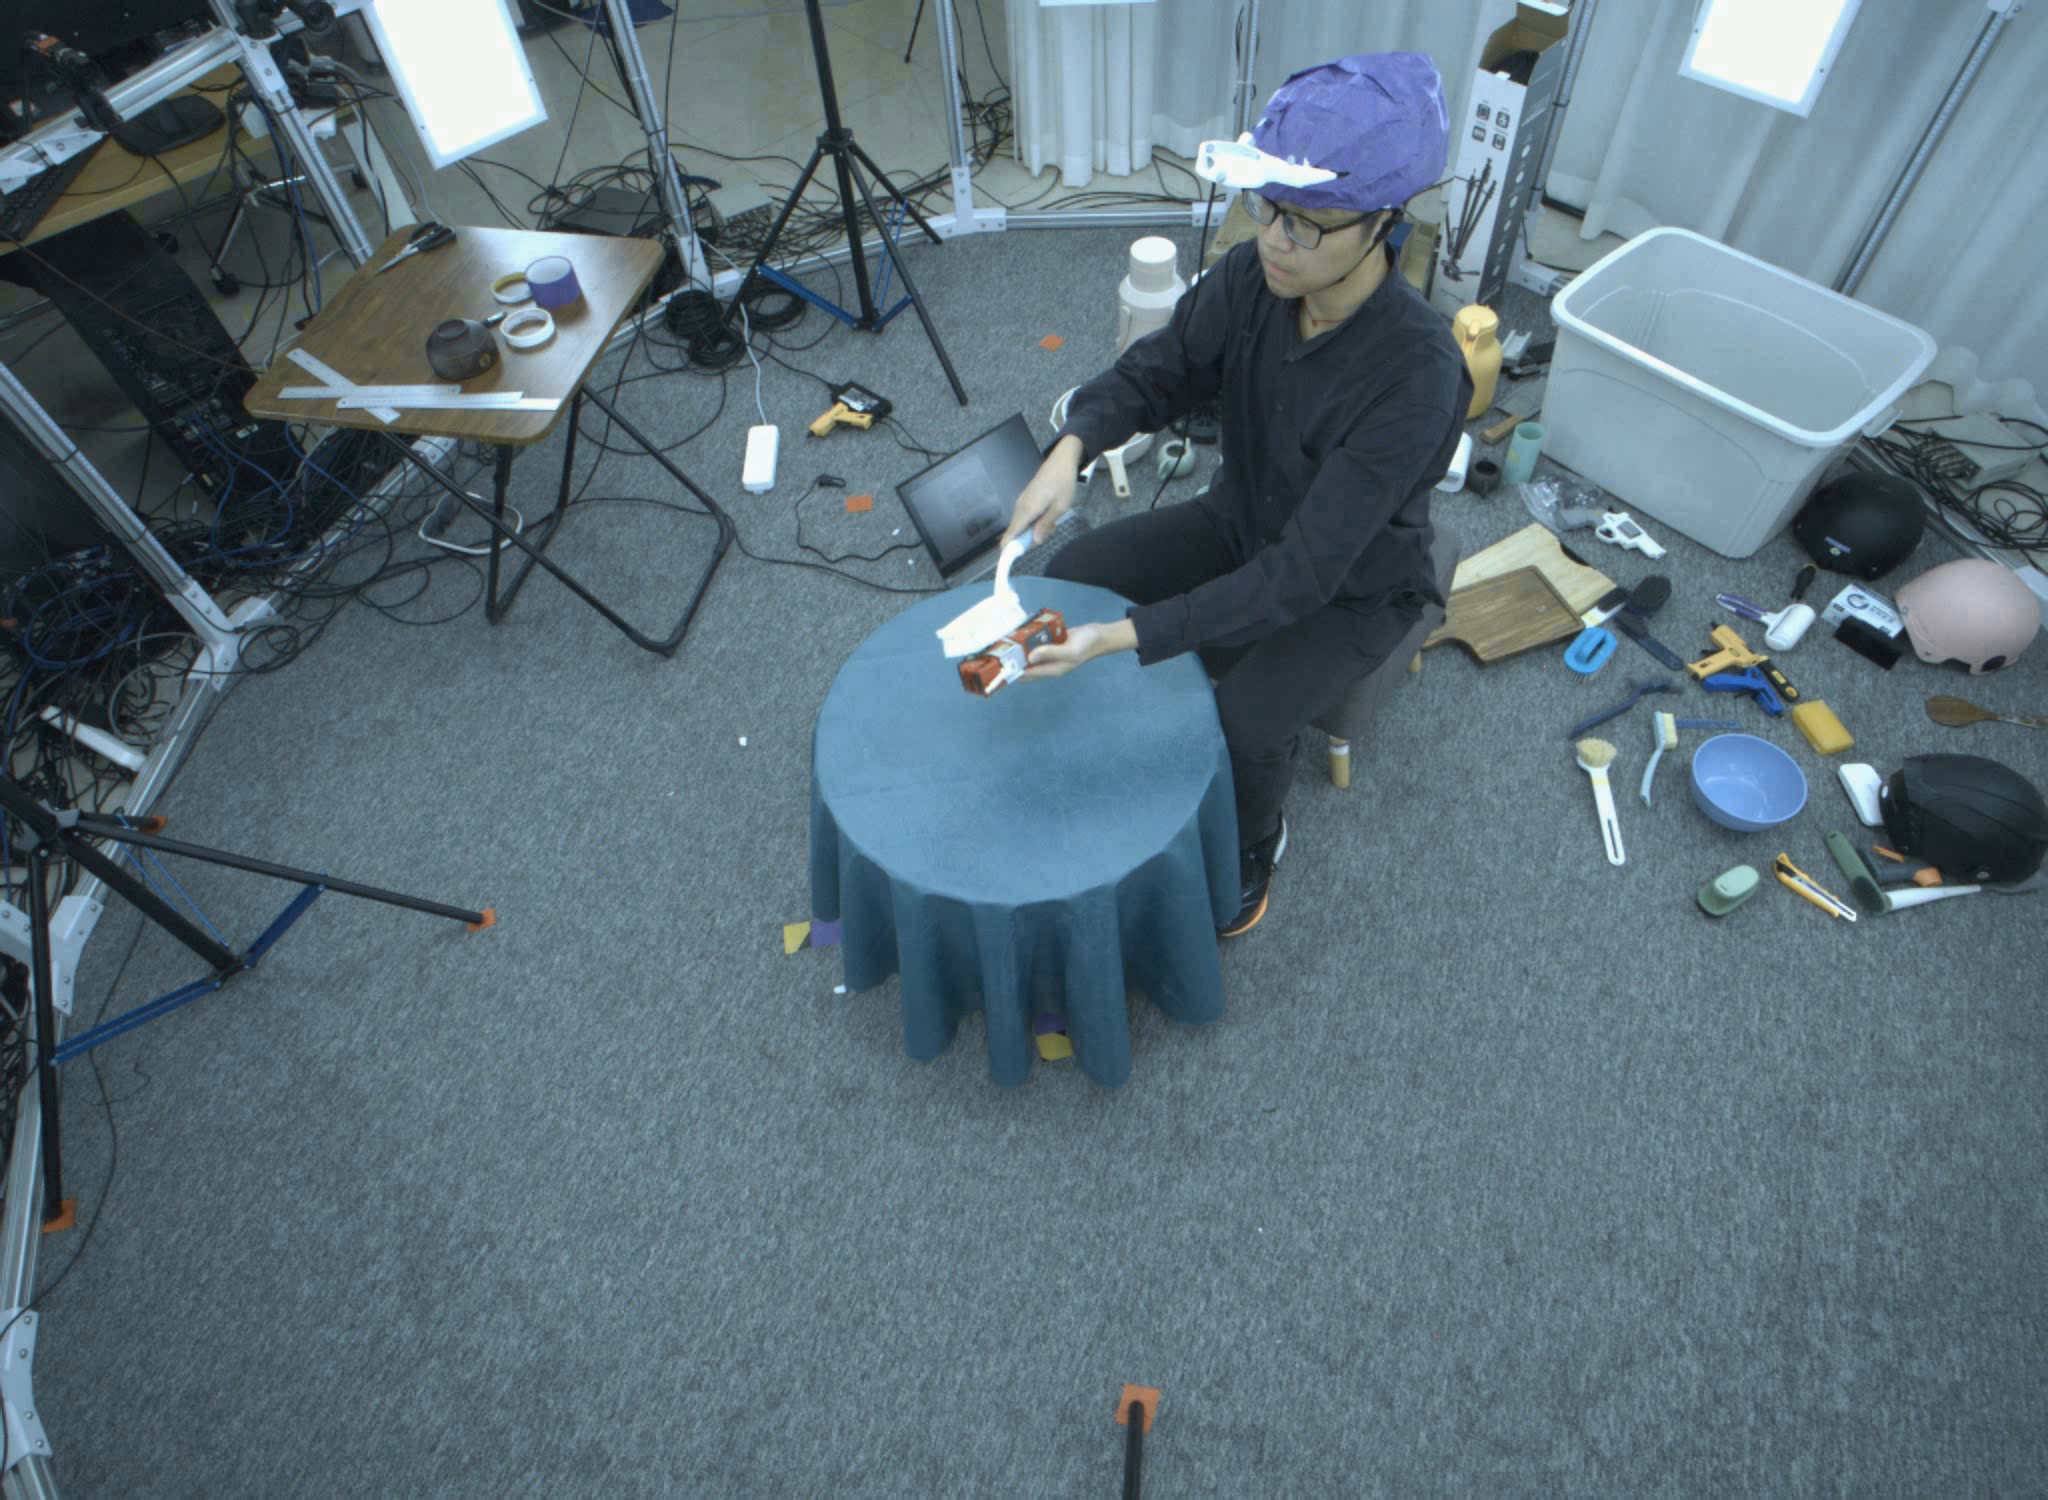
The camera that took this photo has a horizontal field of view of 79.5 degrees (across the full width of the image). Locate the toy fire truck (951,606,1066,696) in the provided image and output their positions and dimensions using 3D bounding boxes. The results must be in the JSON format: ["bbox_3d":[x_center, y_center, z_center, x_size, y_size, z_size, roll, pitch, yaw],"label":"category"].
[{"bbox_3d":[-0.020,-0.132,1.631,0.169,0.055,0.068,-38,38,-29],"label":"toy fire truck"}]

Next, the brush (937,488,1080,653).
[{"bbox_3d":[0.001,-0.237,1.687,0.082,0.085,0.327,28,60,21],"label":"brush"}]
